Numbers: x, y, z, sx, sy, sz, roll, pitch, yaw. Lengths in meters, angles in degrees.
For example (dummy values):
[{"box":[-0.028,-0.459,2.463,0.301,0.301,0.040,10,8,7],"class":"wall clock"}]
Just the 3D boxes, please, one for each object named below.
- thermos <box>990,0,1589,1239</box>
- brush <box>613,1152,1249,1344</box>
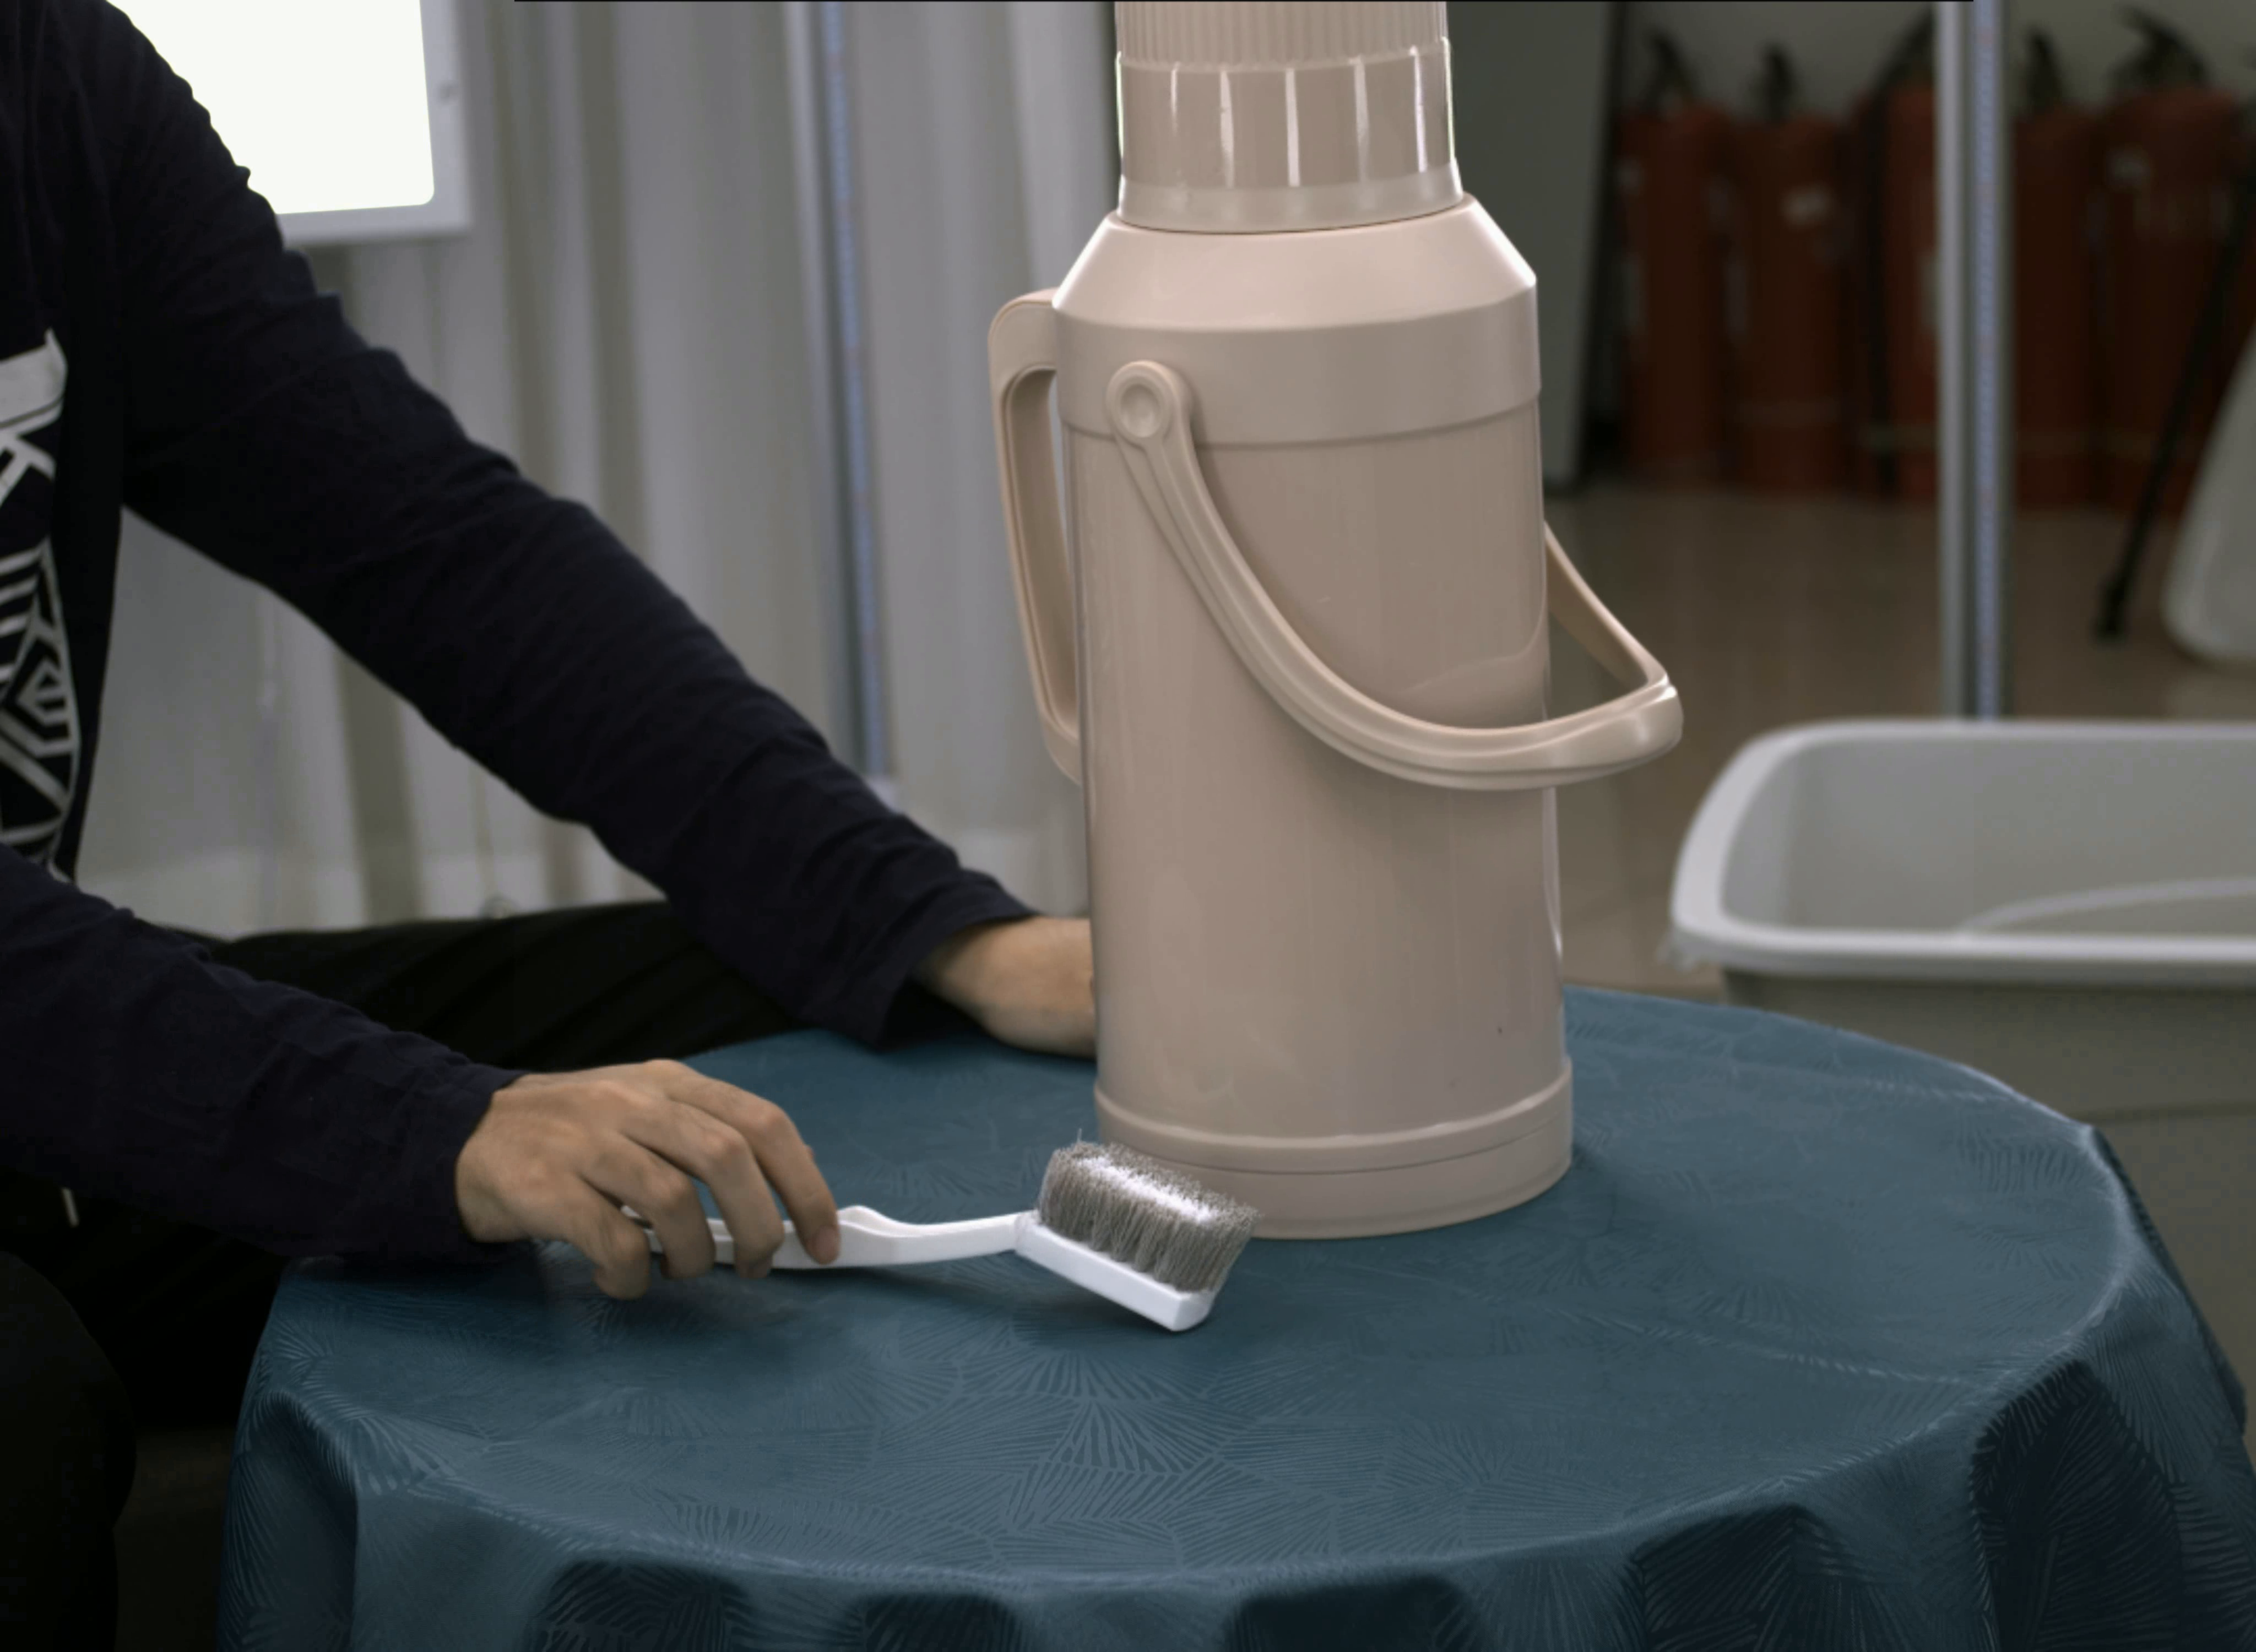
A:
[{"box":[0.049,-0.082,1.751,0.208,0.410,0.172,6,18,36],"class":"thermos"},{"box":[-0.068,0.121,1.697,0.245,0.051,0.034,6,20,36],"class":"brush"}]
